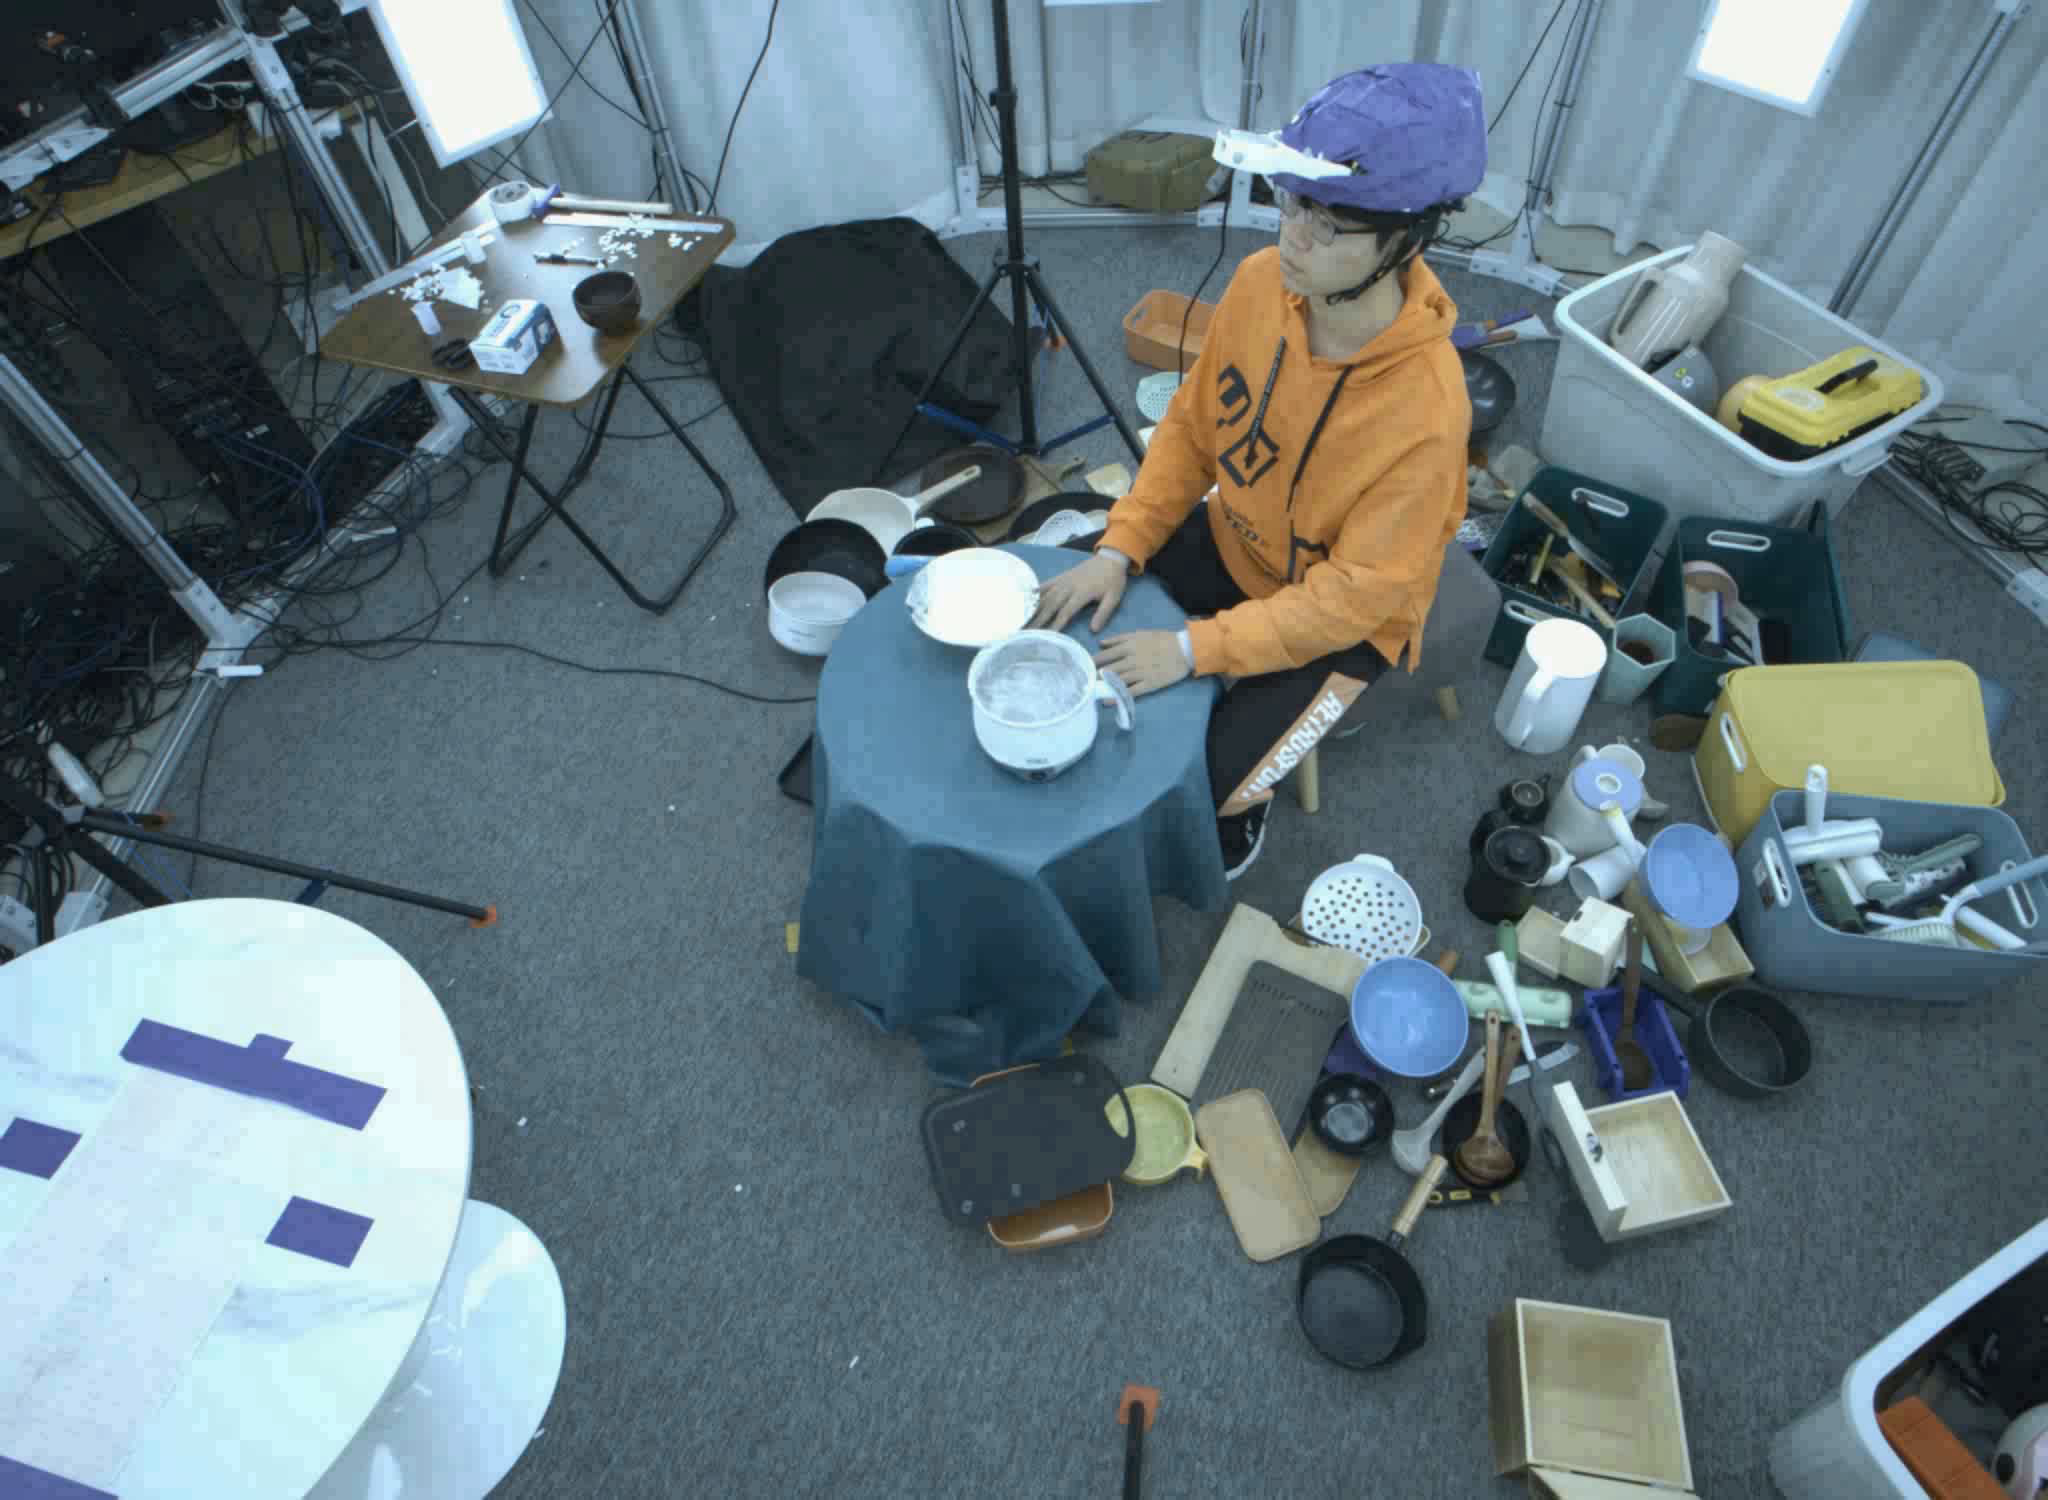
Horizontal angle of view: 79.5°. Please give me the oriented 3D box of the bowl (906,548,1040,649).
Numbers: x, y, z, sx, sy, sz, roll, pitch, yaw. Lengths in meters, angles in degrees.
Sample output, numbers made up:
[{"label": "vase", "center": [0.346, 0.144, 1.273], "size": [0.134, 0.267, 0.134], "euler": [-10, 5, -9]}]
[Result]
[{"label": "bowl", "center": [-0.077, -0.214, 1.895], "size": [0.204, 0.079, 0.202], "euler": [0, 53, 1]}]

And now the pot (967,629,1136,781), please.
[{"label": "pot", "center": [0.042, -0.065, 1.747], "size": [0.234, 0.138, 0.176], "euler": [-5, 55, 0]}]
